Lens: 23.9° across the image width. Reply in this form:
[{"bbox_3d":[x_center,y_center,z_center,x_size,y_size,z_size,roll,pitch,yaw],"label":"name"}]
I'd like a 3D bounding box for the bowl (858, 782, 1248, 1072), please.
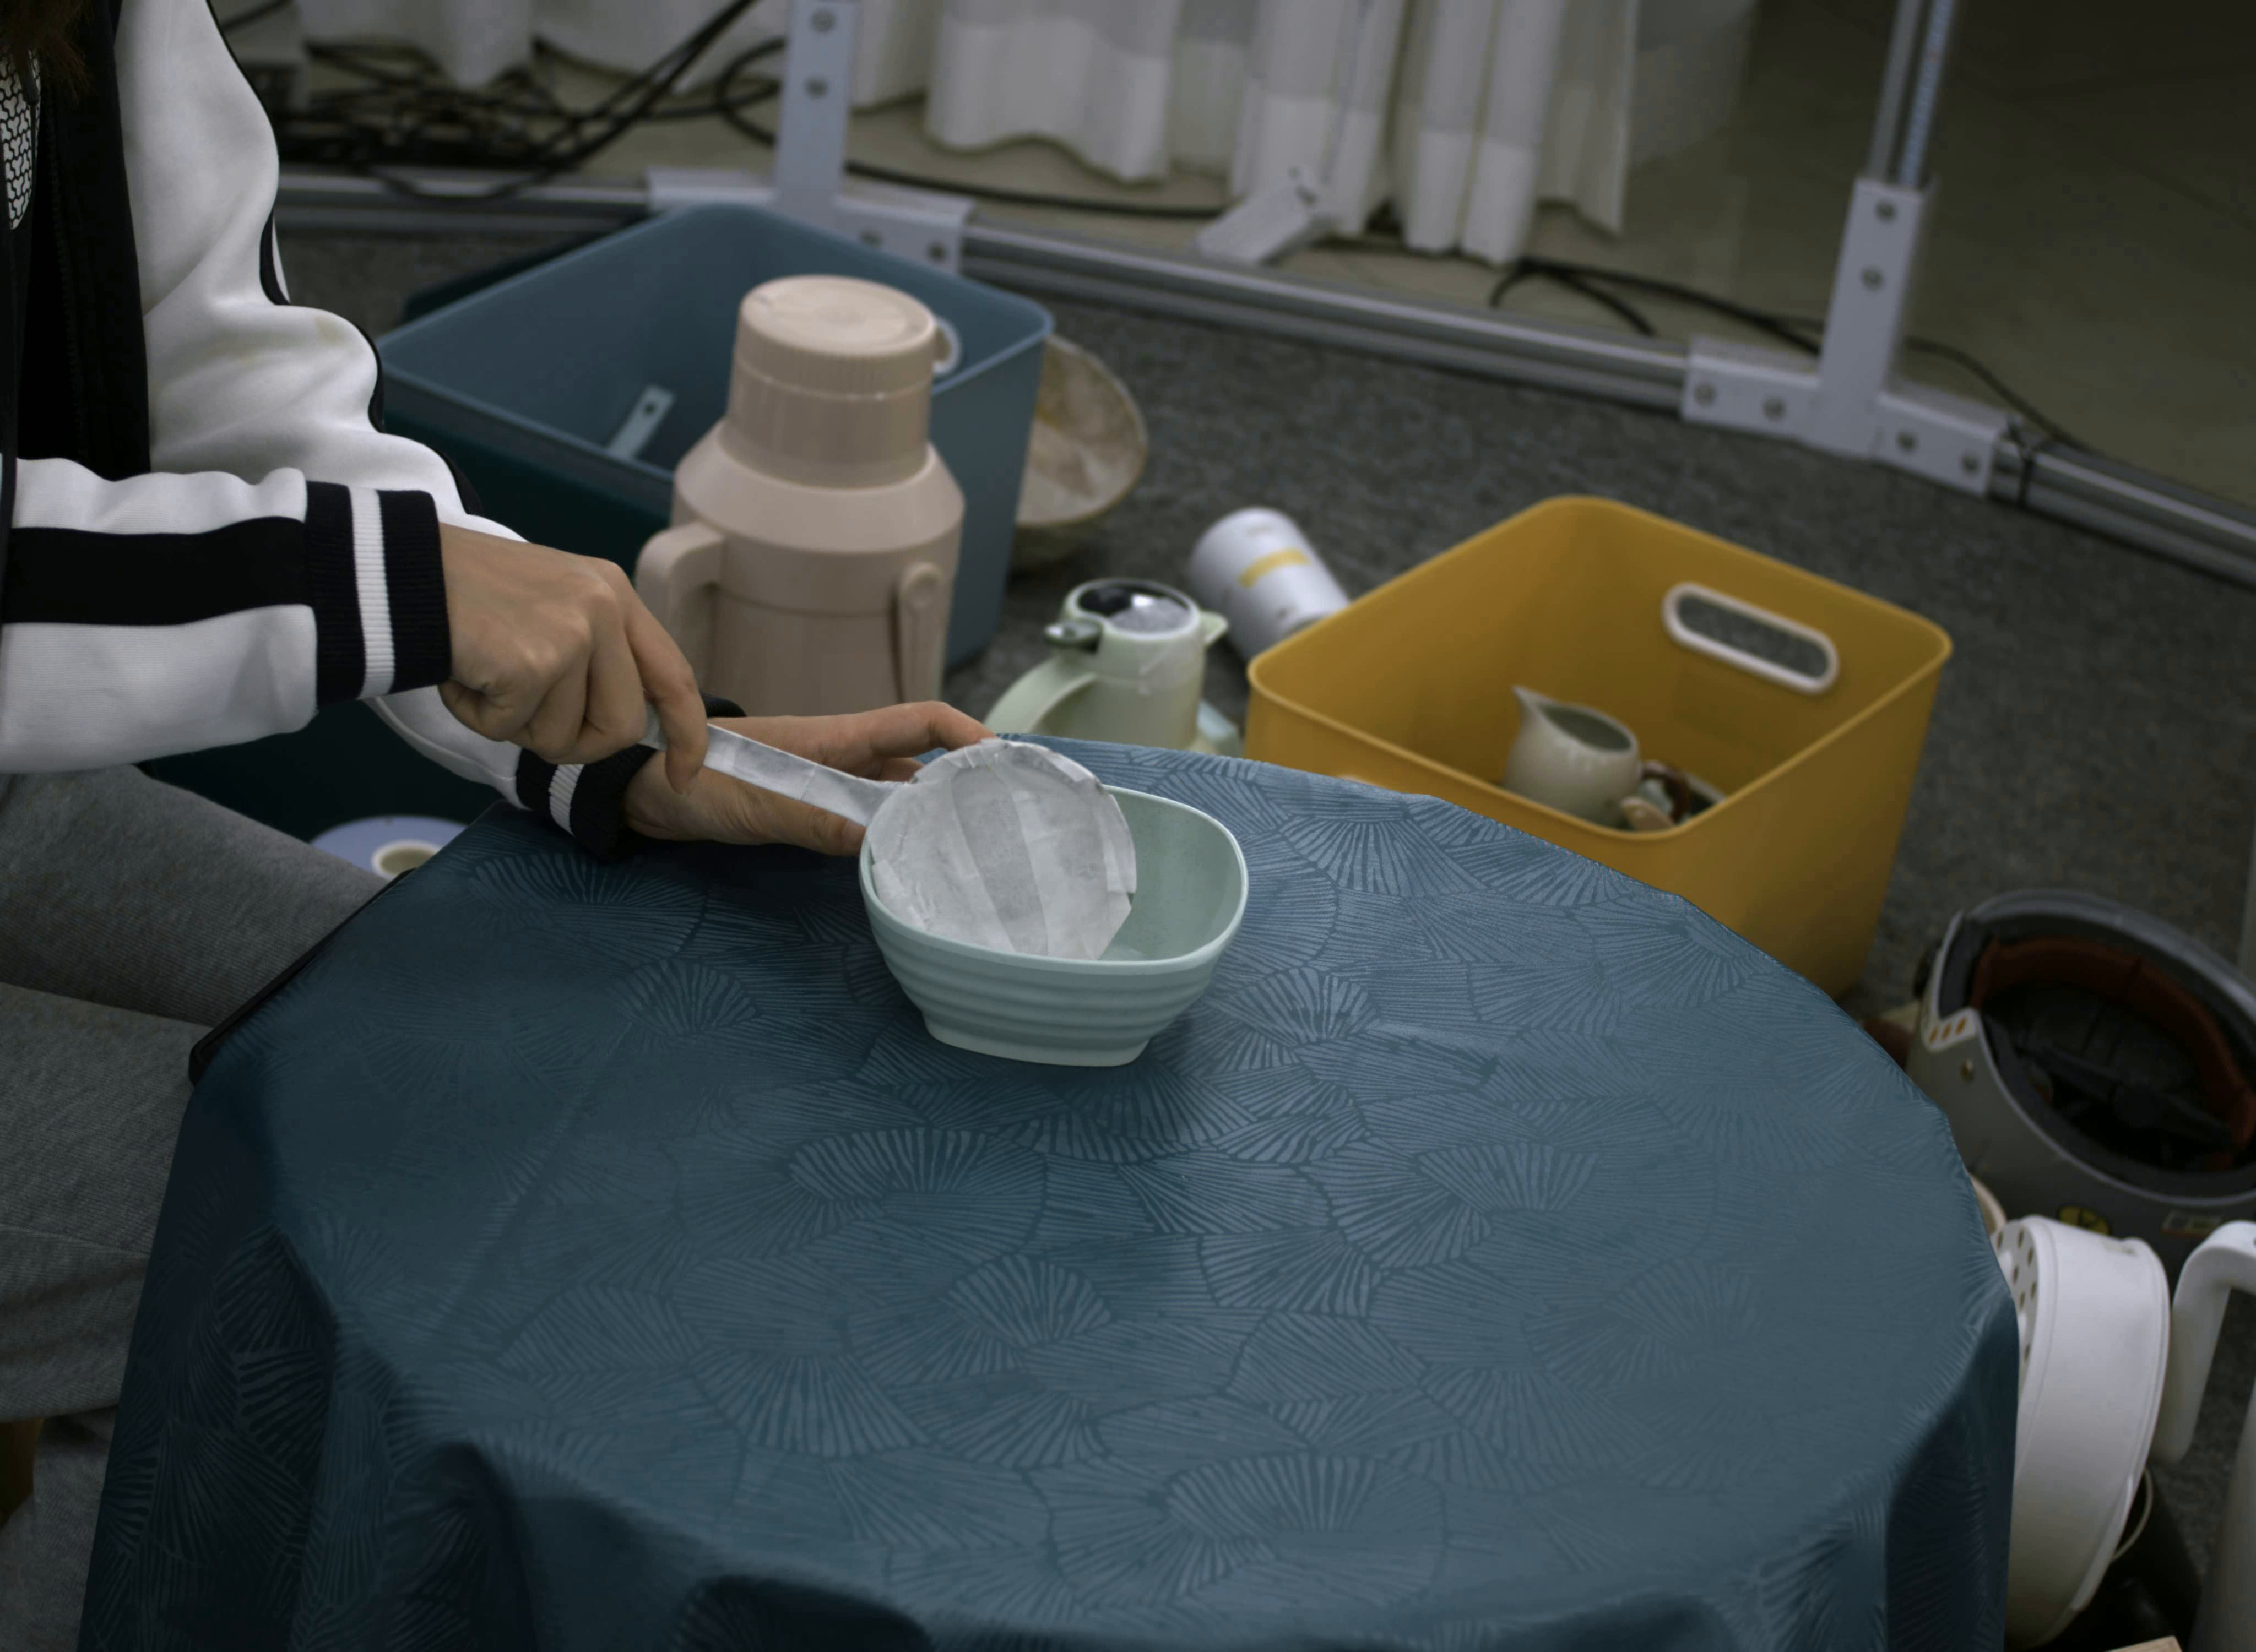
[{"bbox_3d":[-0.029,0.041,1.900,0.151,0.058,0.152,5,27,-3],"label":"bowl"}]

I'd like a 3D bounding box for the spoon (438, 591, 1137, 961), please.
[{"bbox_3d":[-0.114,-0.022,1.832,0.275,0.101,0.060,25,5,-37],"label":"spoon"}]
